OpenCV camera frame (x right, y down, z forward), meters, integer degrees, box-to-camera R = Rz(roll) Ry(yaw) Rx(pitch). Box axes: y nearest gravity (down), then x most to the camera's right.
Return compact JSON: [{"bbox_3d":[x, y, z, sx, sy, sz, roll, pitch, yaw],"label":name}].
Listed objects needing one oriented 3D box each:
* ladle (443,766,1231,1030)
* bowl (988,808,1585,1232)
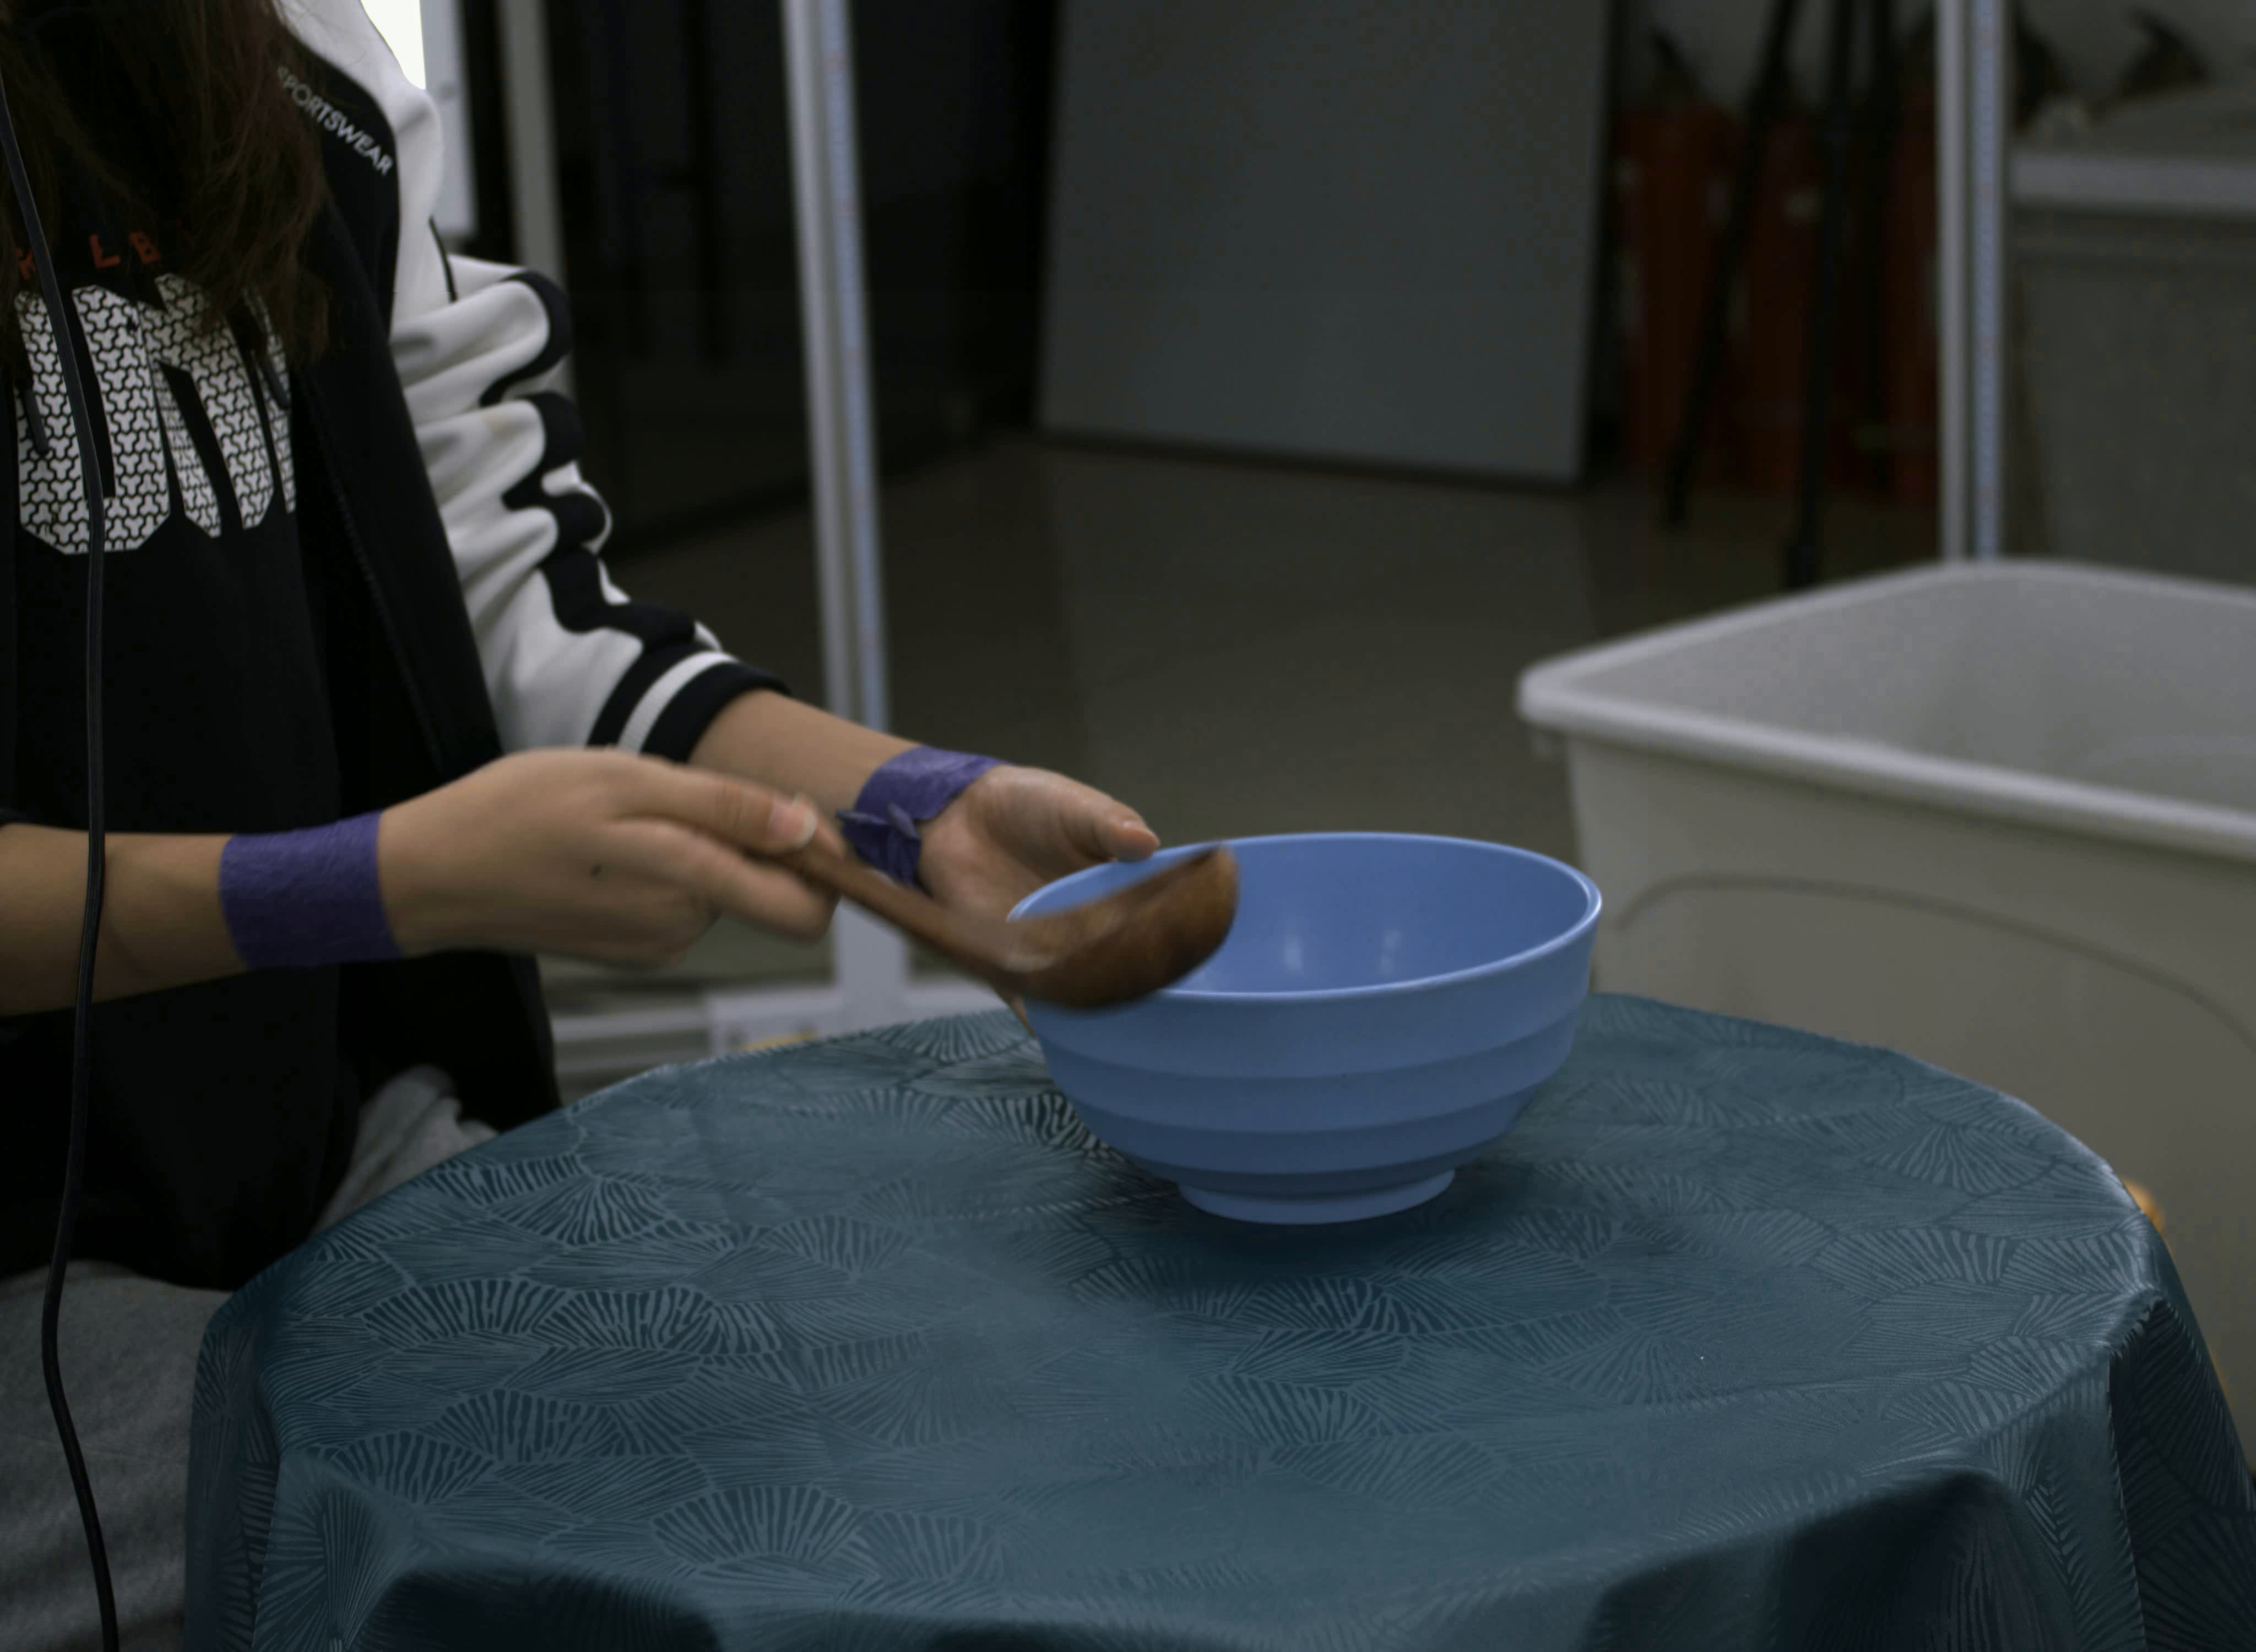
[{"bbox_3d":[-0.090,0.005,1.621,0.260,0.066,0.075,19,22,21],"label":"ladle"},{"bbox_3d":[0.054,0.071,1.762,0.194,0.096,0.197,-4,20,1],"label":"bowl"}]
